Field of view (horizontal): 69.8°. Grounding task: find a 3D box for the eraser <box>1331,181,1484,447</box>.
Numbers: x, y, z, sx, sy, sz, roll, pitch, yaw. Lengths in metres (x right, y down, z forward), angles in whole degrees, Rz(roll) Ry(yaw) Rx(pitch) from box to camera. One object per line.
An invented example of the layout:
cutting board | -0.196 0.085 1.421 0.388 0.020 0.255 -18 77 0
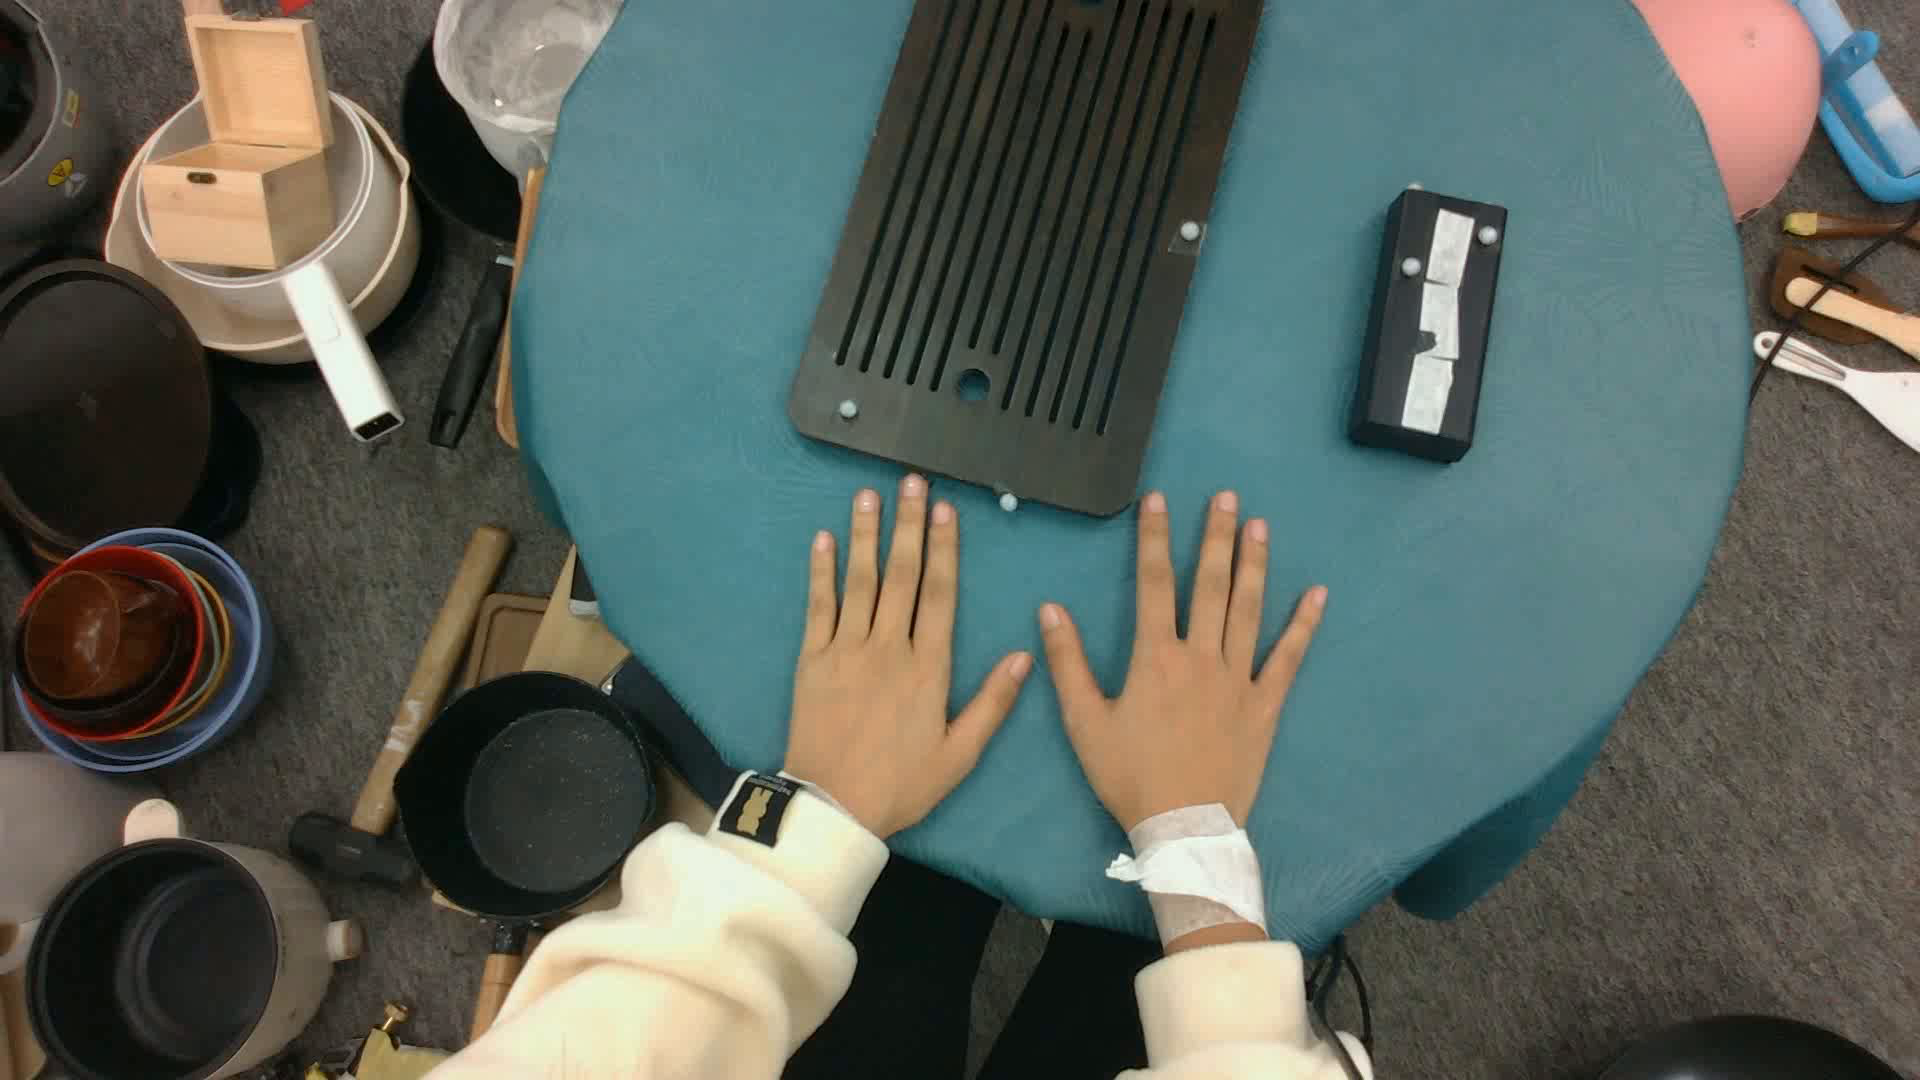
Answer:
eraser | 0.214 -0.109 0.662 0.053 0.030 0.126 12 78 4

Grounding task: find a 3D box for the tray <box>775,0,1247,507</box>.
tray | 0.031 -0.176 0.679 0.170 0.018 0.306 15 76 3
